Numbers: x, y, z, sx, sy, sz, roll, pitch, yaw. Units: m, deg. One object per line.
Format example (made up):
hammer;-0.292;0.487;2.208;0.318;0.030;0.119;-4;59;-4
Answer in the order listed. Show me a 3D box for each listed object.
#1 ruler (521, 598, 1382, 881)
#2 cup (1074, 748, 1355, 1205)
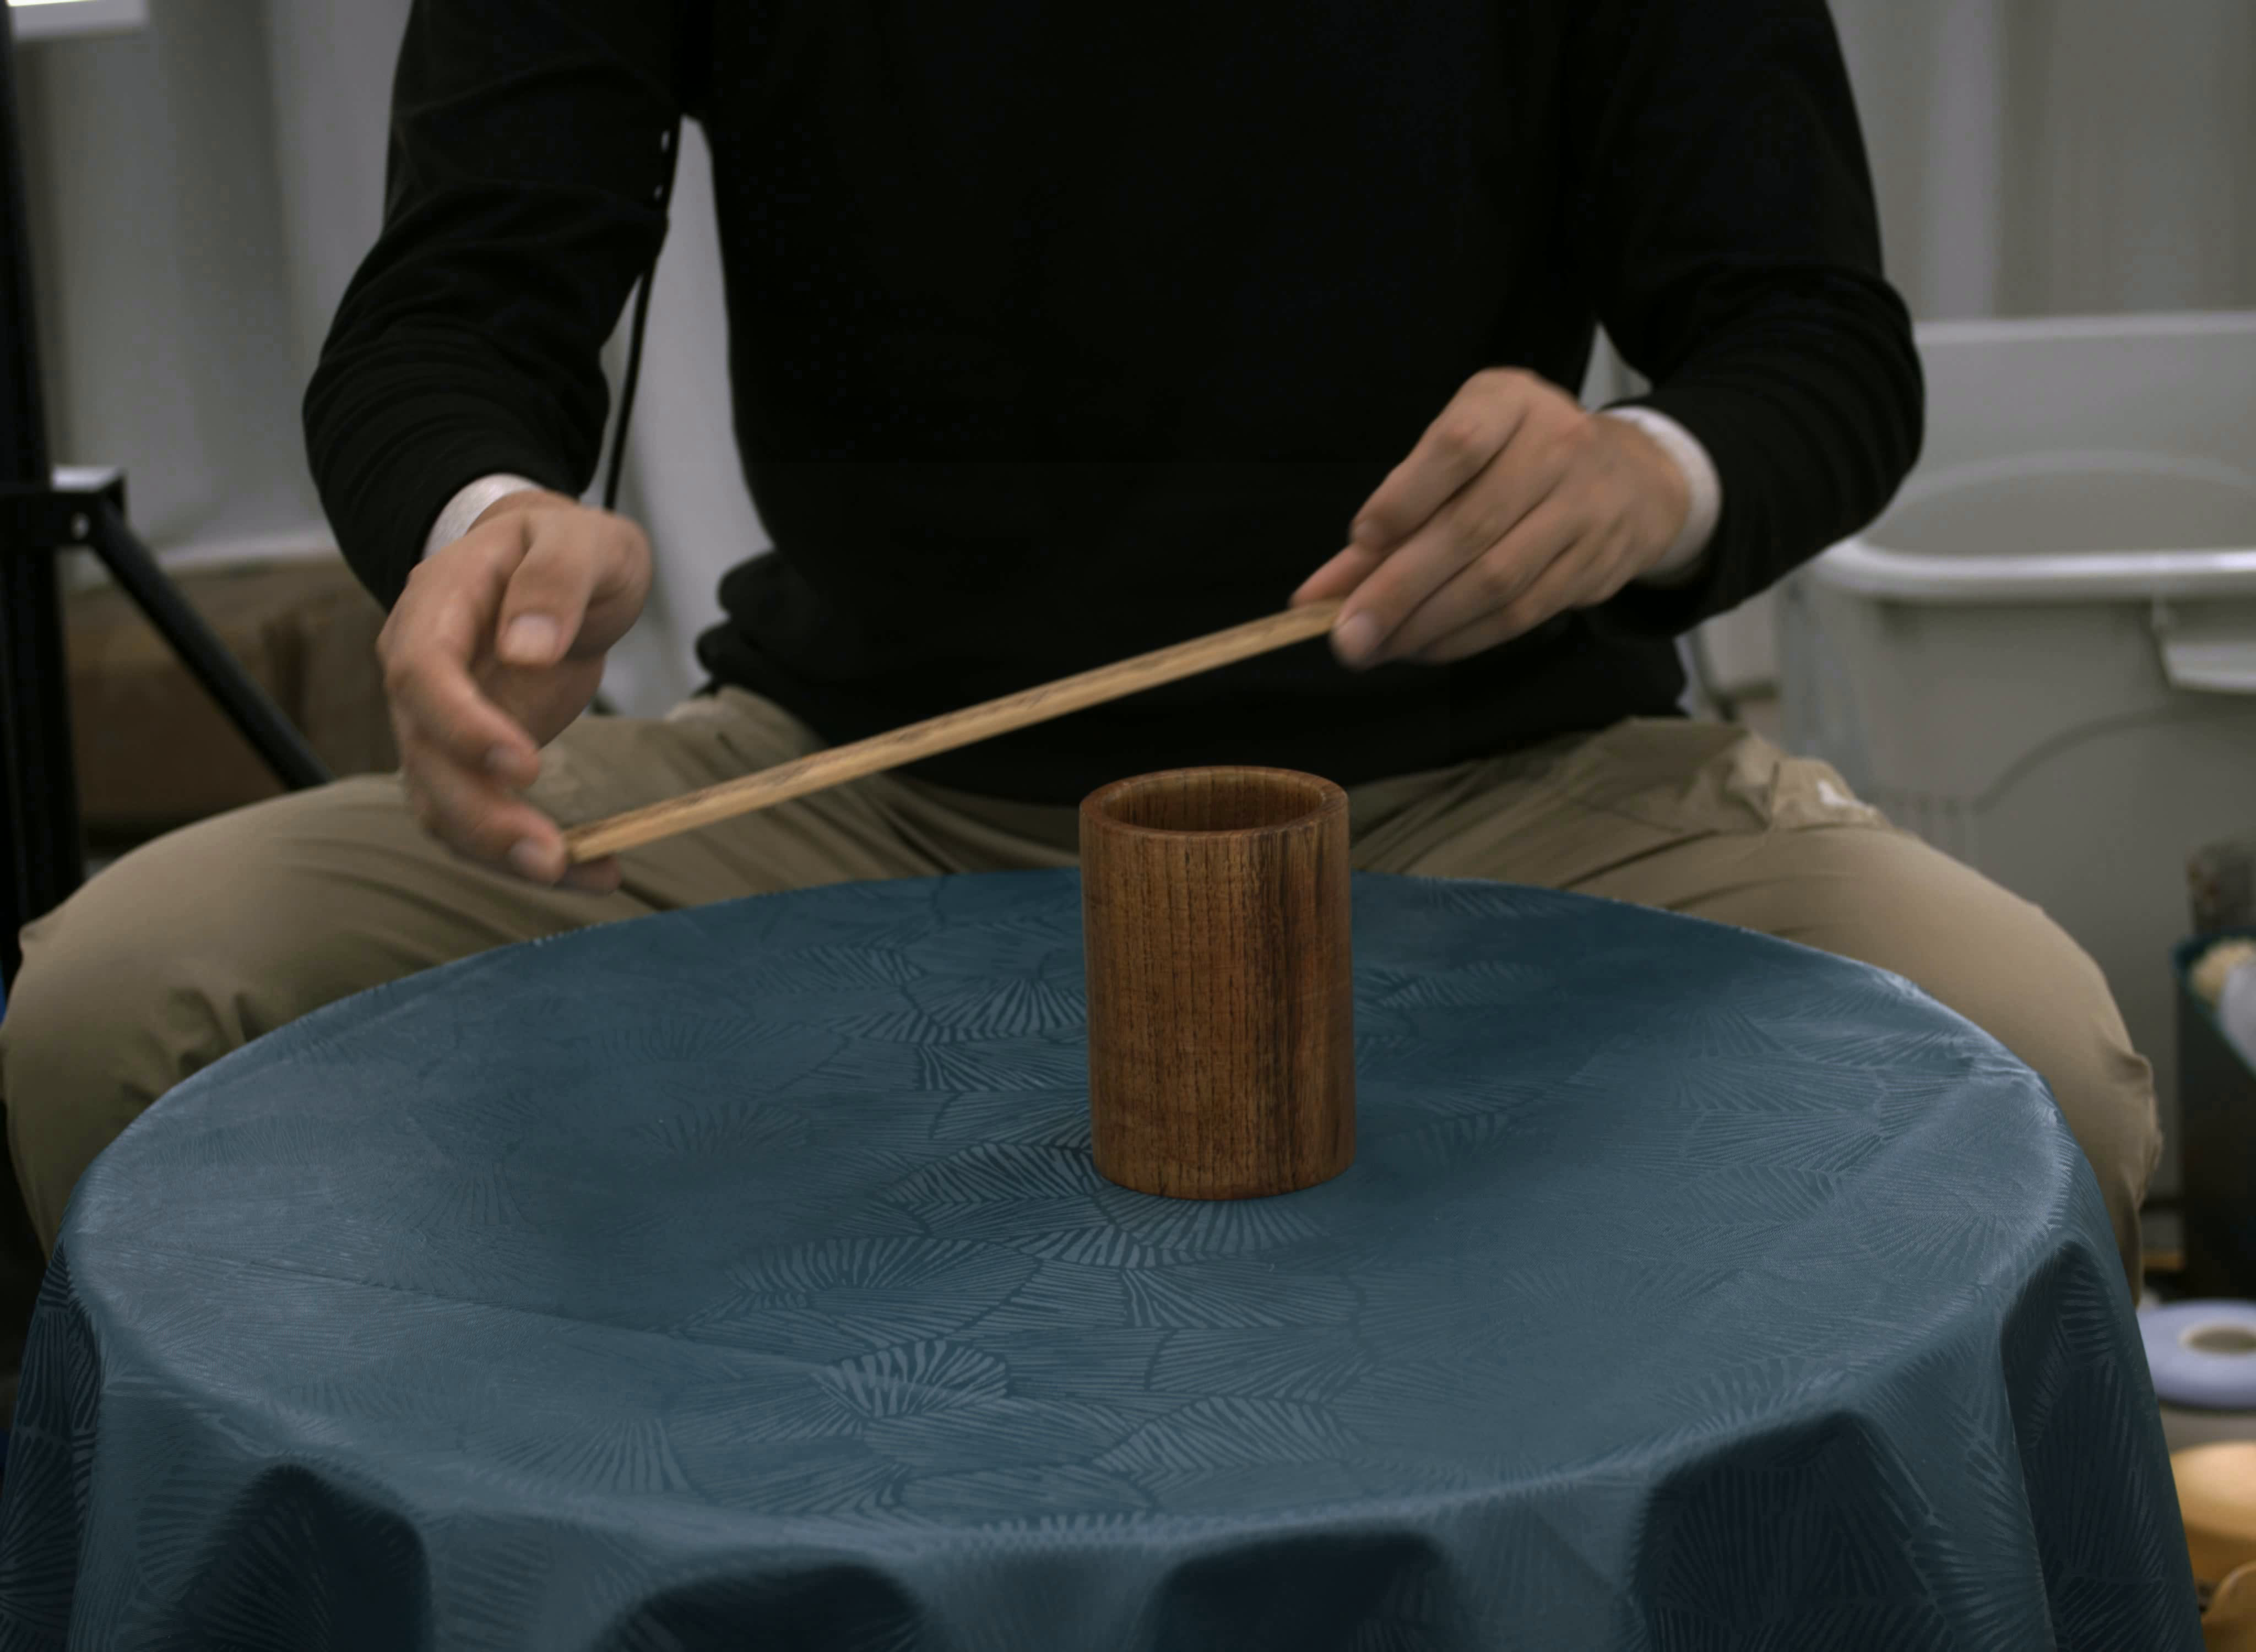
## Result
ruler;-0.046;-0.030;1.602;0.324;0.022;0.028;-18;19;-40
cup;0.026;0.044;1.568;0.087;0.118;0.088;-1;15;-1
